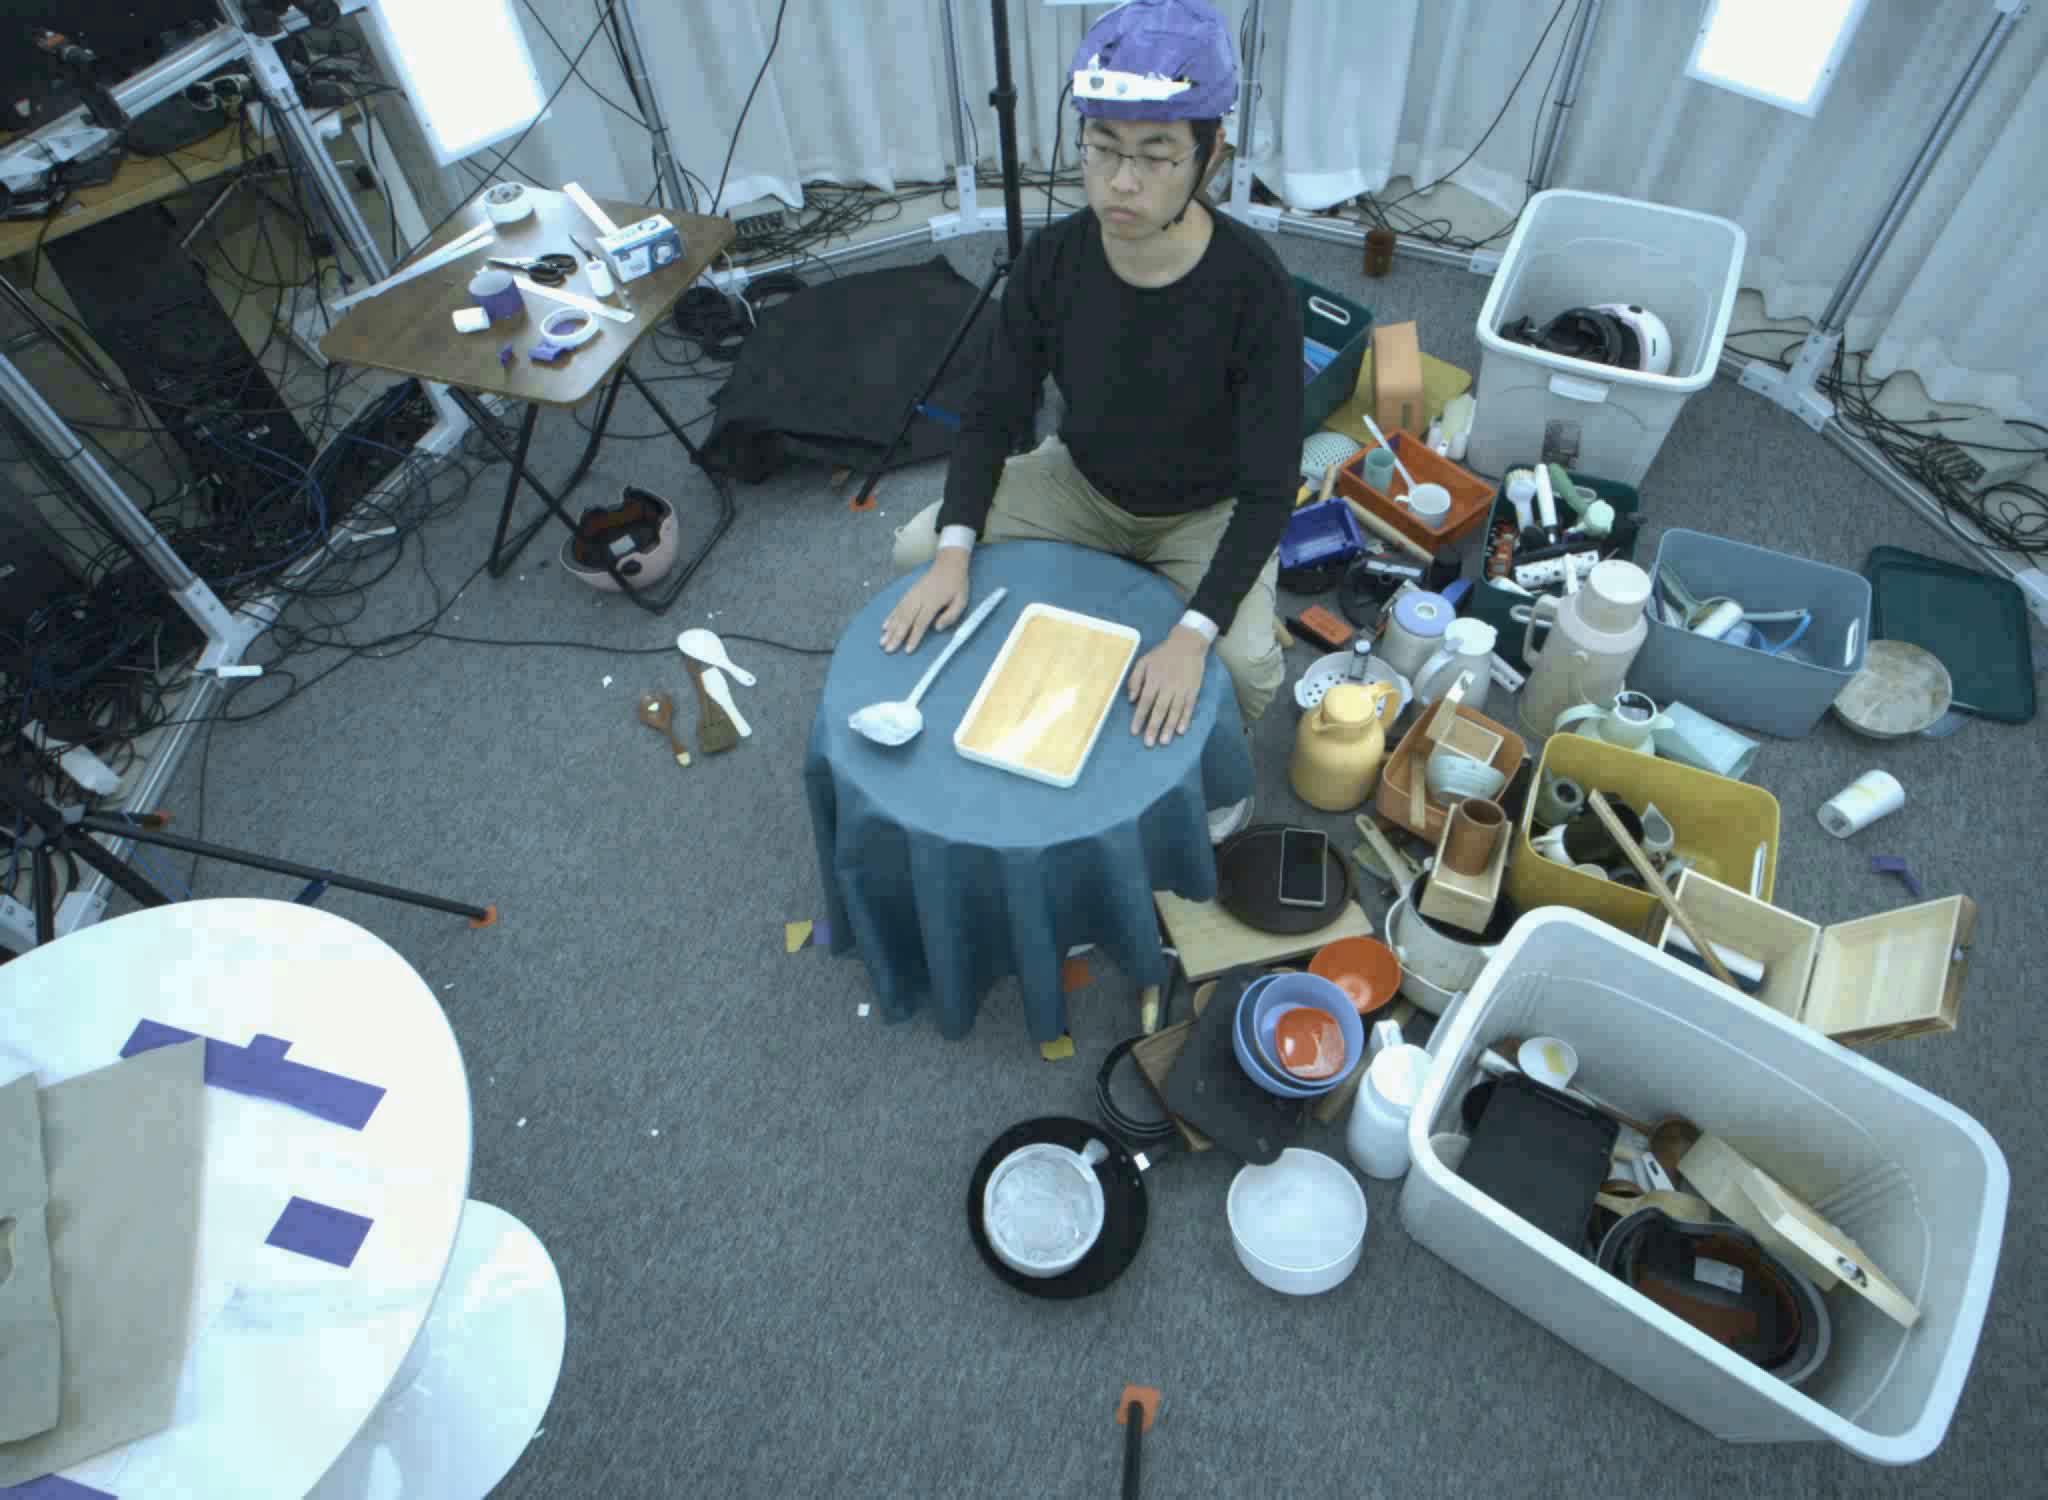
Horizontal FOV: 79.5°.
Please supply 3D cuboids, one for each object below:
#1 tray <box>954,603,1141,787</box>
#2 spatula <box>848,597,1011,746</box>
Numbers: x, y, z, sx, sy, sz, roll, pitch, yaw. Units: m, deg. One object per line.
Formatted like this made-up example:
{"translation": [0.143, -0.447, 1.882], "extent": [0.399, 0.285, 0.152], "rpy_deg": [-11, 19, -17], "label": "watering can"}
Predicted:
{"translation": [0.039, -0.088, 1.832], "extent": [0.189, 0.028, 0.300], "rpy_deg": [18, 57, 14], "label": "tray"}
{"translation": [-0.128, -0.133, 1.863], "extent": [0.097, 0.045, 0.366], "rpy_deg": [25, 60, 20], "label": "spatula"}
